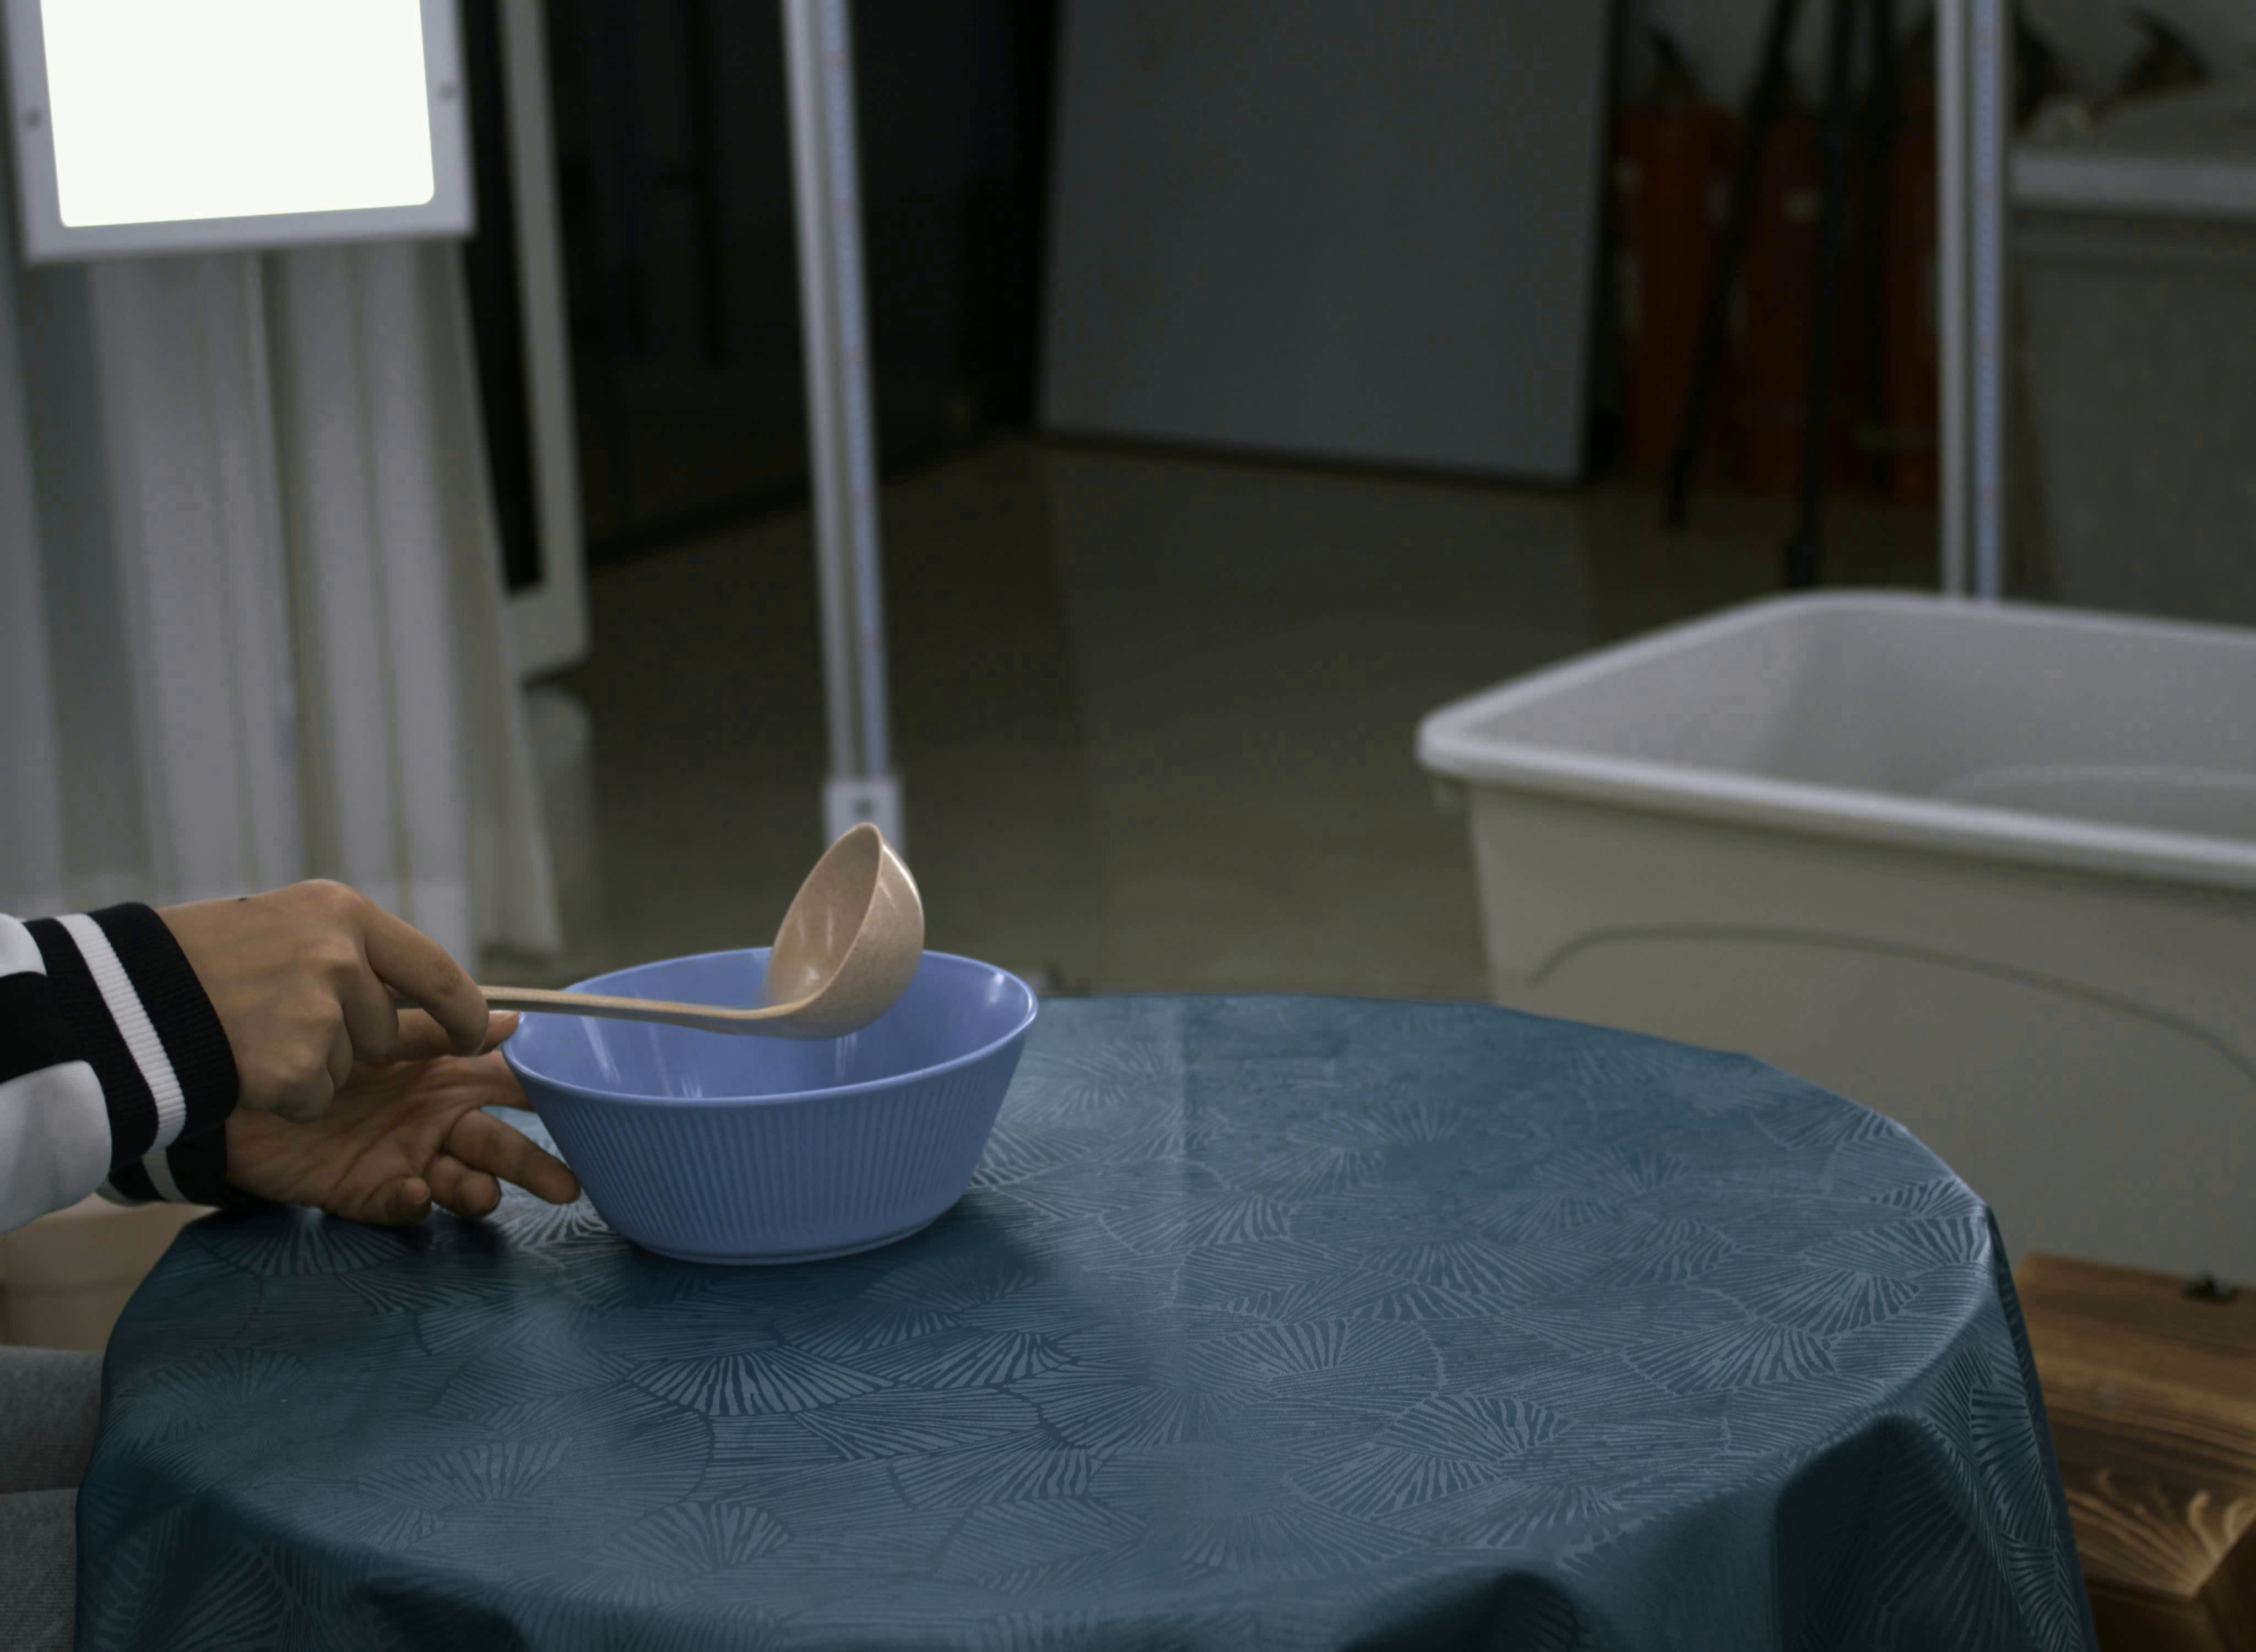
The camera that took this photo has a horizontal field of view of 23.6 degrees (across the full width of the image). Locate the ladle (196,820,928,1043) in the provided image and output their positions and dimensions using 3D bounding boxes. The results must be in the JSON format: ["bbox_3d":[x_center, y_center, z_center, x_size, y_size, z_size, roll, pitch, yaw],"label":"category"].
[{"bbox_3d":[-0.178,0.030,1.699,0.248,0.074,0.073,3,-19,-33],"label":"ladle"}]

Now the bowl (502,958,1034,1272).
[{"bbox_3d":[-0.114,0.096,1.762,0.174,0.071,0.176,-4,13,0],"label":"bowl"}]
